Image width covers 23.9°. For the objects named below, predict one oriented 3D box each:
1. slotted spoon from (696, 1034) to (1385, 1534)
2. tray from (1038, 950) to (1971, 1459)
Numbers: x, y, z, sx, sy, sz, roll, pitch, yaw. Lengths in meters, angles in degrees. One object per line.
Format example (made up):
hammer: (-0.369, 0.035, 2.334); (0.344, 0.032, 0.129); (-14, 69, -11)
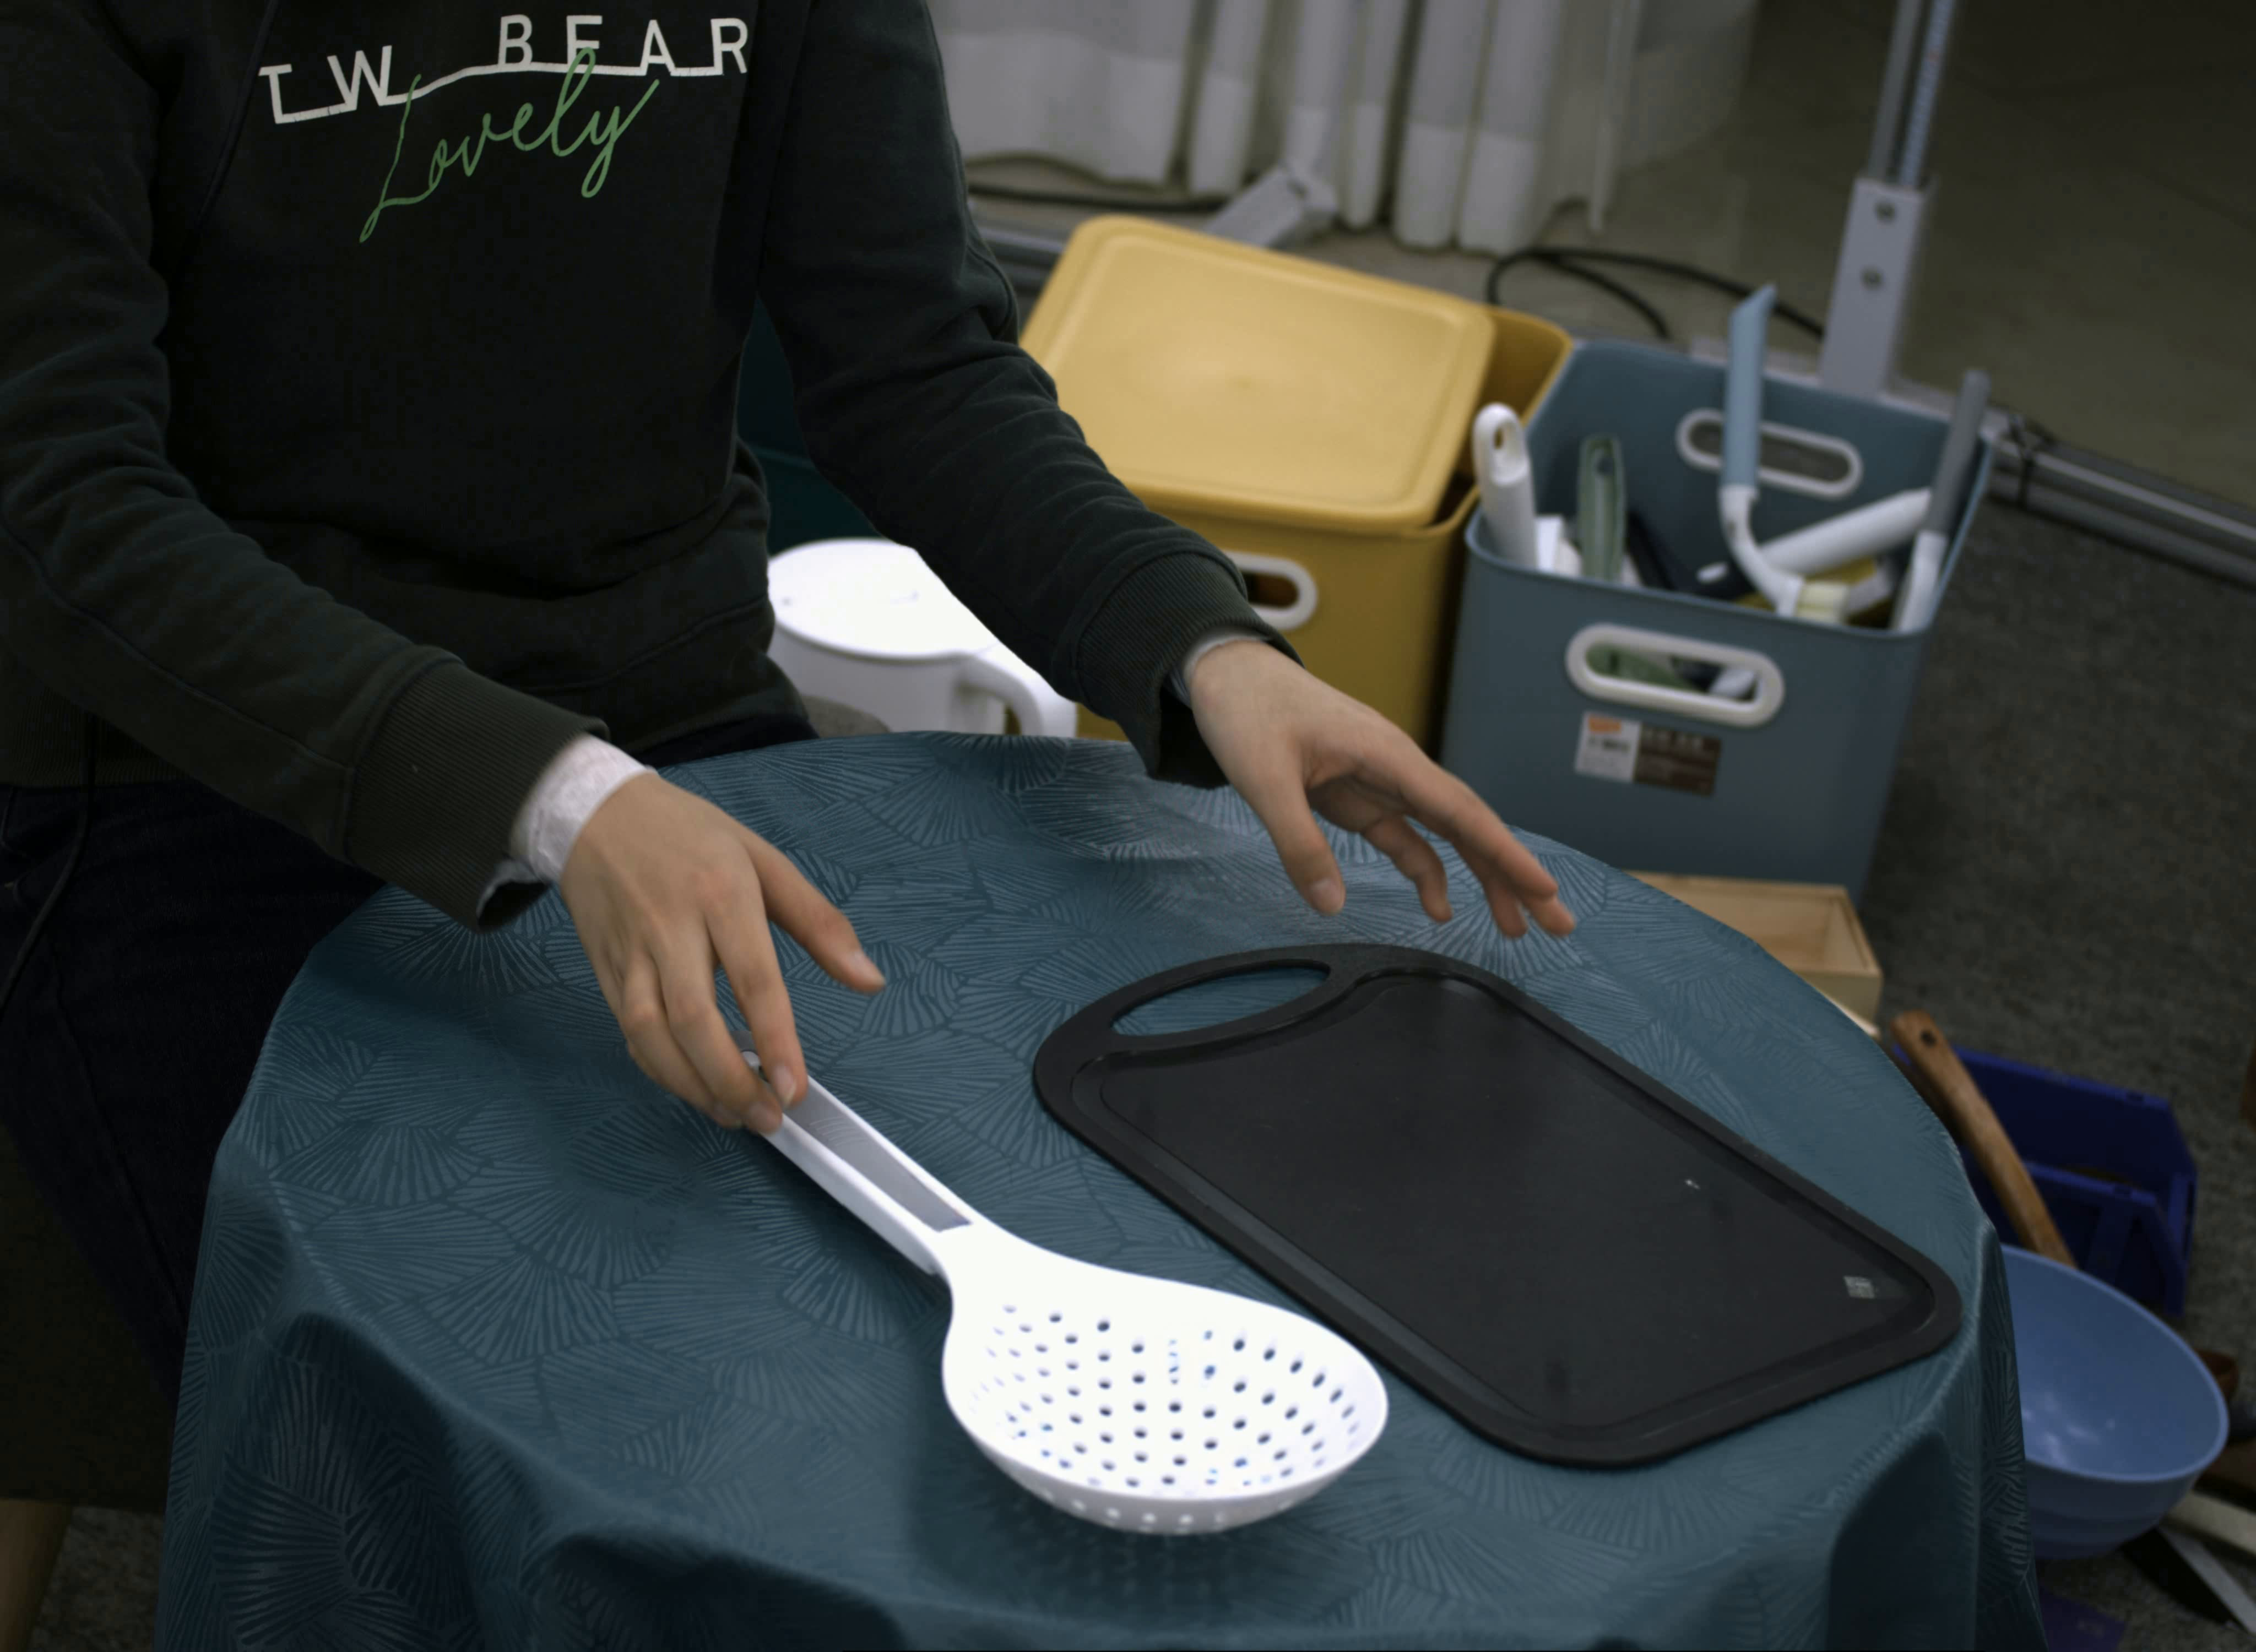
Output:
slotted spoon: (-0.047, 0.140, 1.706); (0.135, 0.045, 0.353); (-9, 30, -31)
tray: (0.120, 0.120, 1.827); (0.210, 0.010, 0.328); (-14, 33, -36)
